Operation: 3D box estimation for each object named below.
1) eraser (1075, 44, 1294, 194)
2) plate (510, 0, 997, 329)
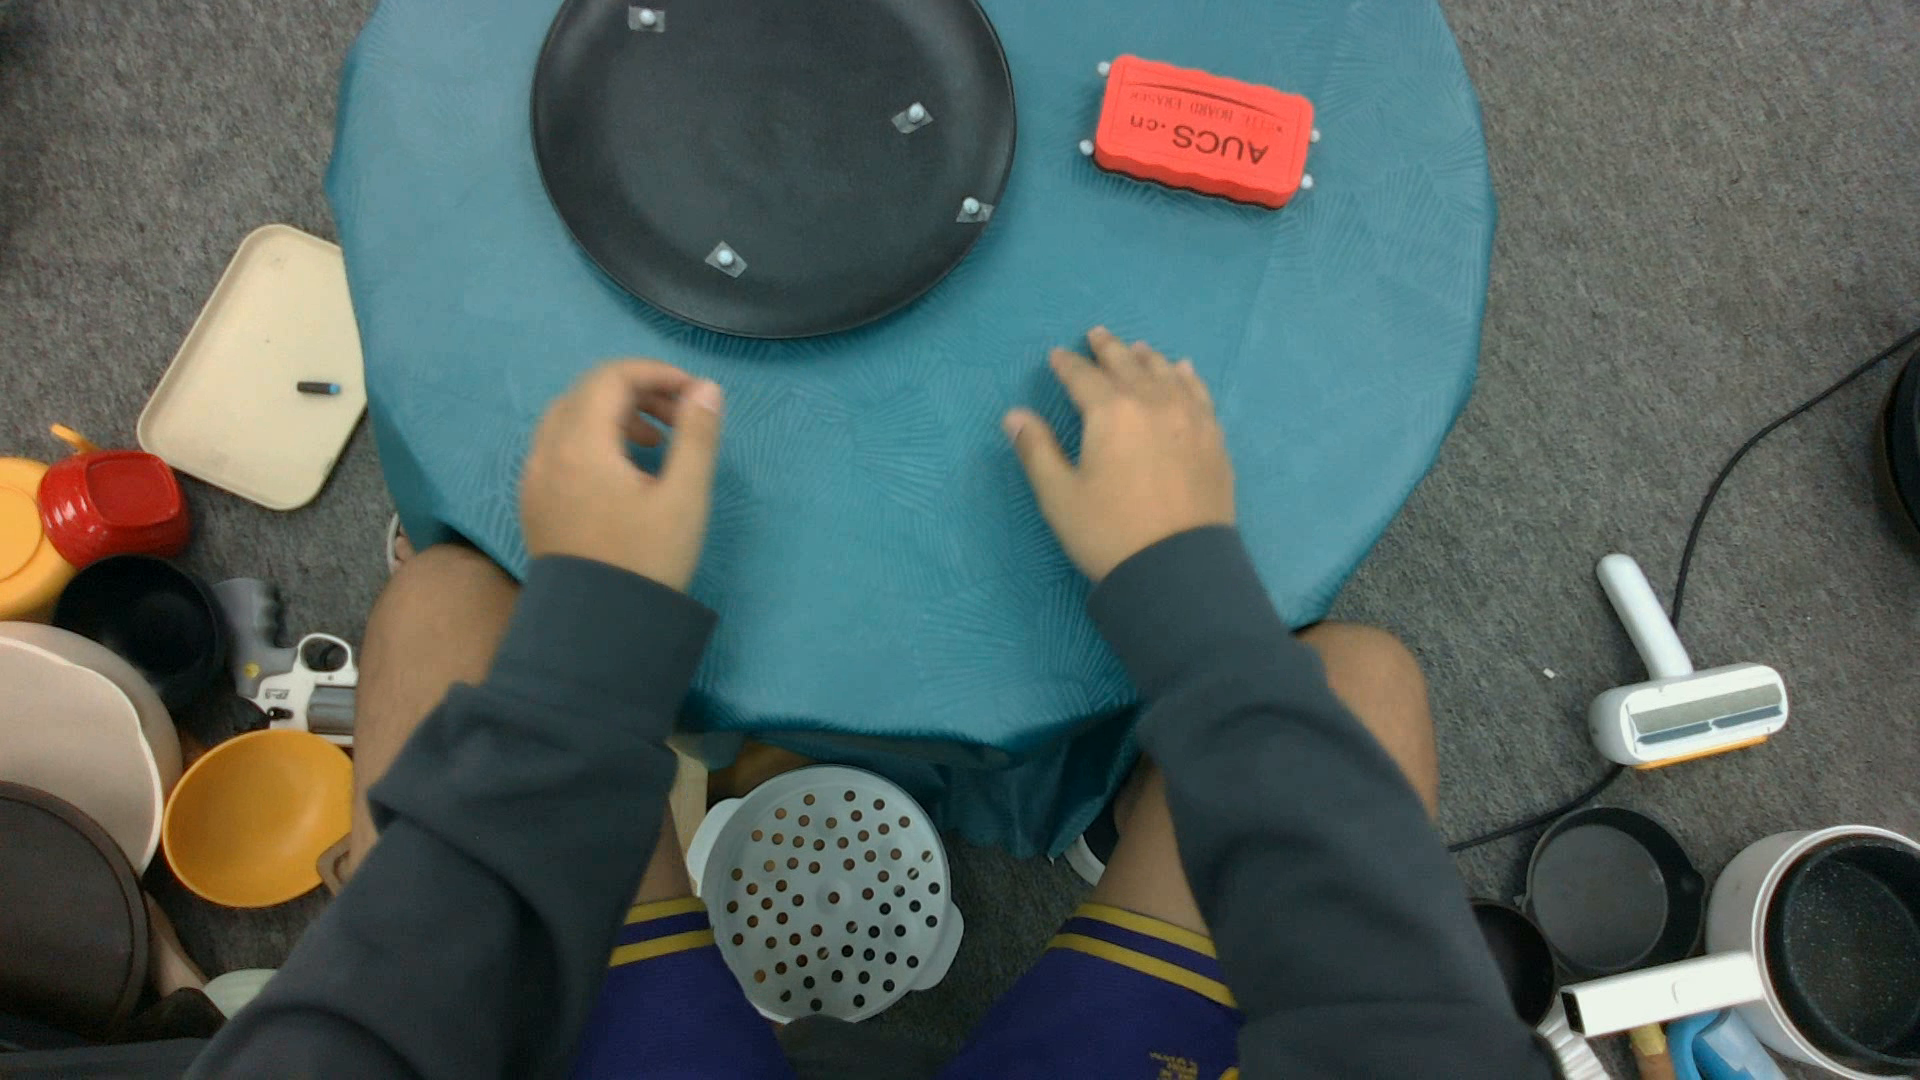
[{"bbox_3d":[0.117,-0.219,0.718,0.108,0.023,0.059,12,76,-1],"label":"eraser"},{"bbox_3d":[-0.103,-0.220,0.701,0.244,0.023,0.245,1,78,-5],"label":"plate"}]
